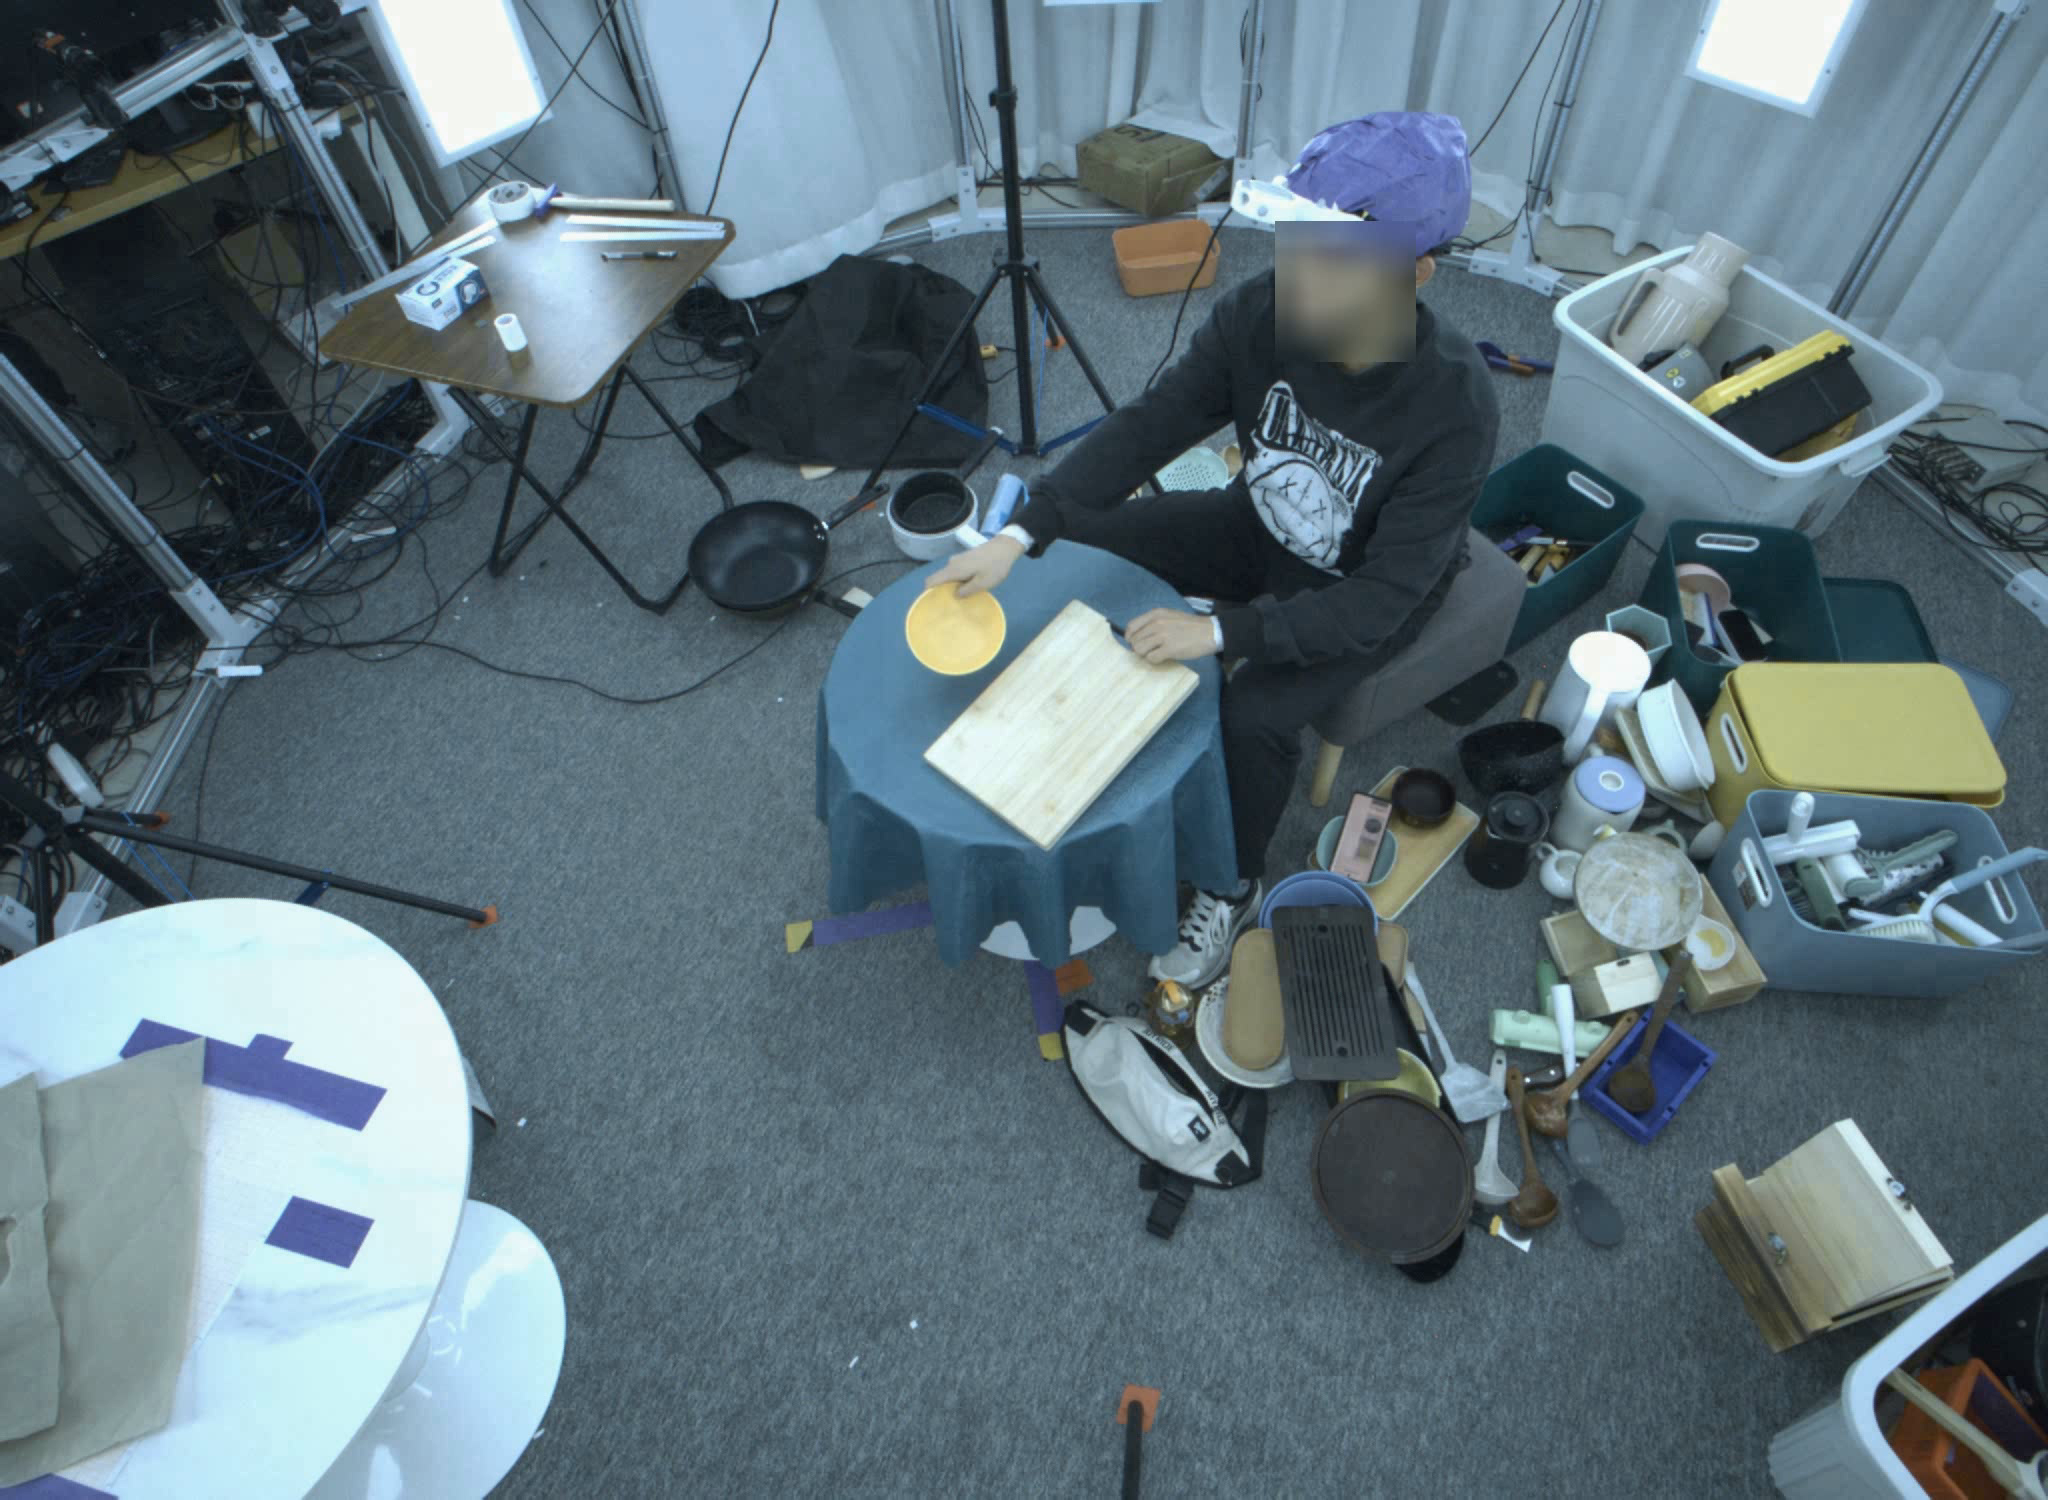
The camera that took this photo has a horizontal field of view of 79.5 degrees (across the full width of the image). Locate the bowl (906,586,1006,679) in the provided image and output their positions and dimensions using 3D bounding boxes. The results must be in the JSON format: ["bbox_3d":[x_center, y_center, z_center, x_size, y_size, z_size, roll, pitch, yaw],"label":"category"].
[{"bbox_3d":[-0.099,-0.163,1.800,0.145,0.060,0.144,1,75,-2],"label":"bowl"}]

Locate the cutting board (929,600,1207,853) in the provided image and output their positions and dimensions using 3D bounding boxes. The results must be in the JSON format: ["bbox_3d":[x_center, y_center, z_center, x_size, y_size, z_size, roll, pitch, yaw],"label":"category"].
[{"bbox_3d":[0.062,-0.044,1.784,0.246,0.024,0.350,35,72,23],"label":"cutting board"}]
